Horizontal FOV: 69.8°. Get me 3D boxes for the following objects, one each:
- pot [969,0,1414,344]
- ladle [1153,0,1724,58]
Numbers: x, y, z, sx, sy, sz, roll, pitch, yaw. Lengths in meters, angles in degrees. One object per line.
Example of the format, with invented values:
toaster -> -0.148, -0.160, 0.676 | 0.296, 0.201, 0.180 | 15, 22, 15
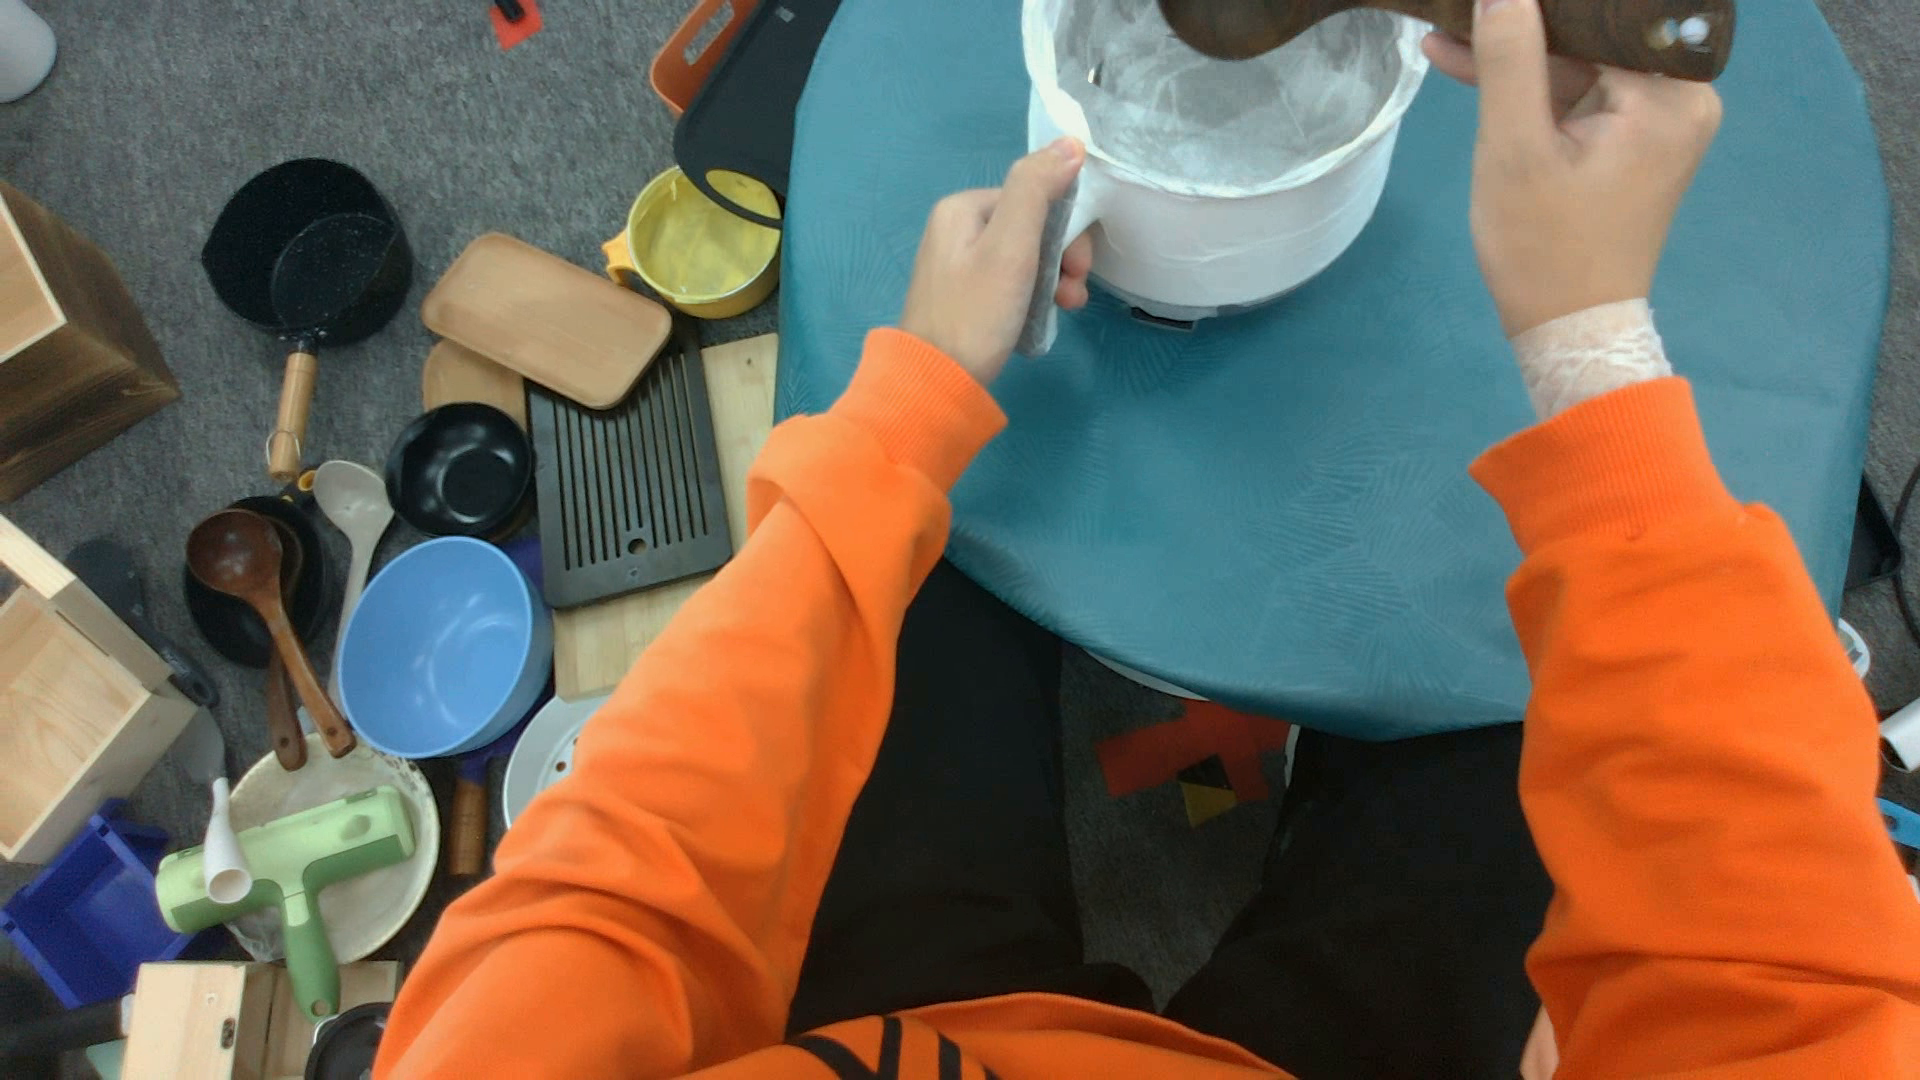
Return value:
pot -> 0.094, -0.195, 0.659 | 0.179, 0.136, 0.234 | 41, 79, 16
ladle -> 0.156, -0.218, 0.528 | 0.071, 0.076, 0.274 | -11, 31, -17
